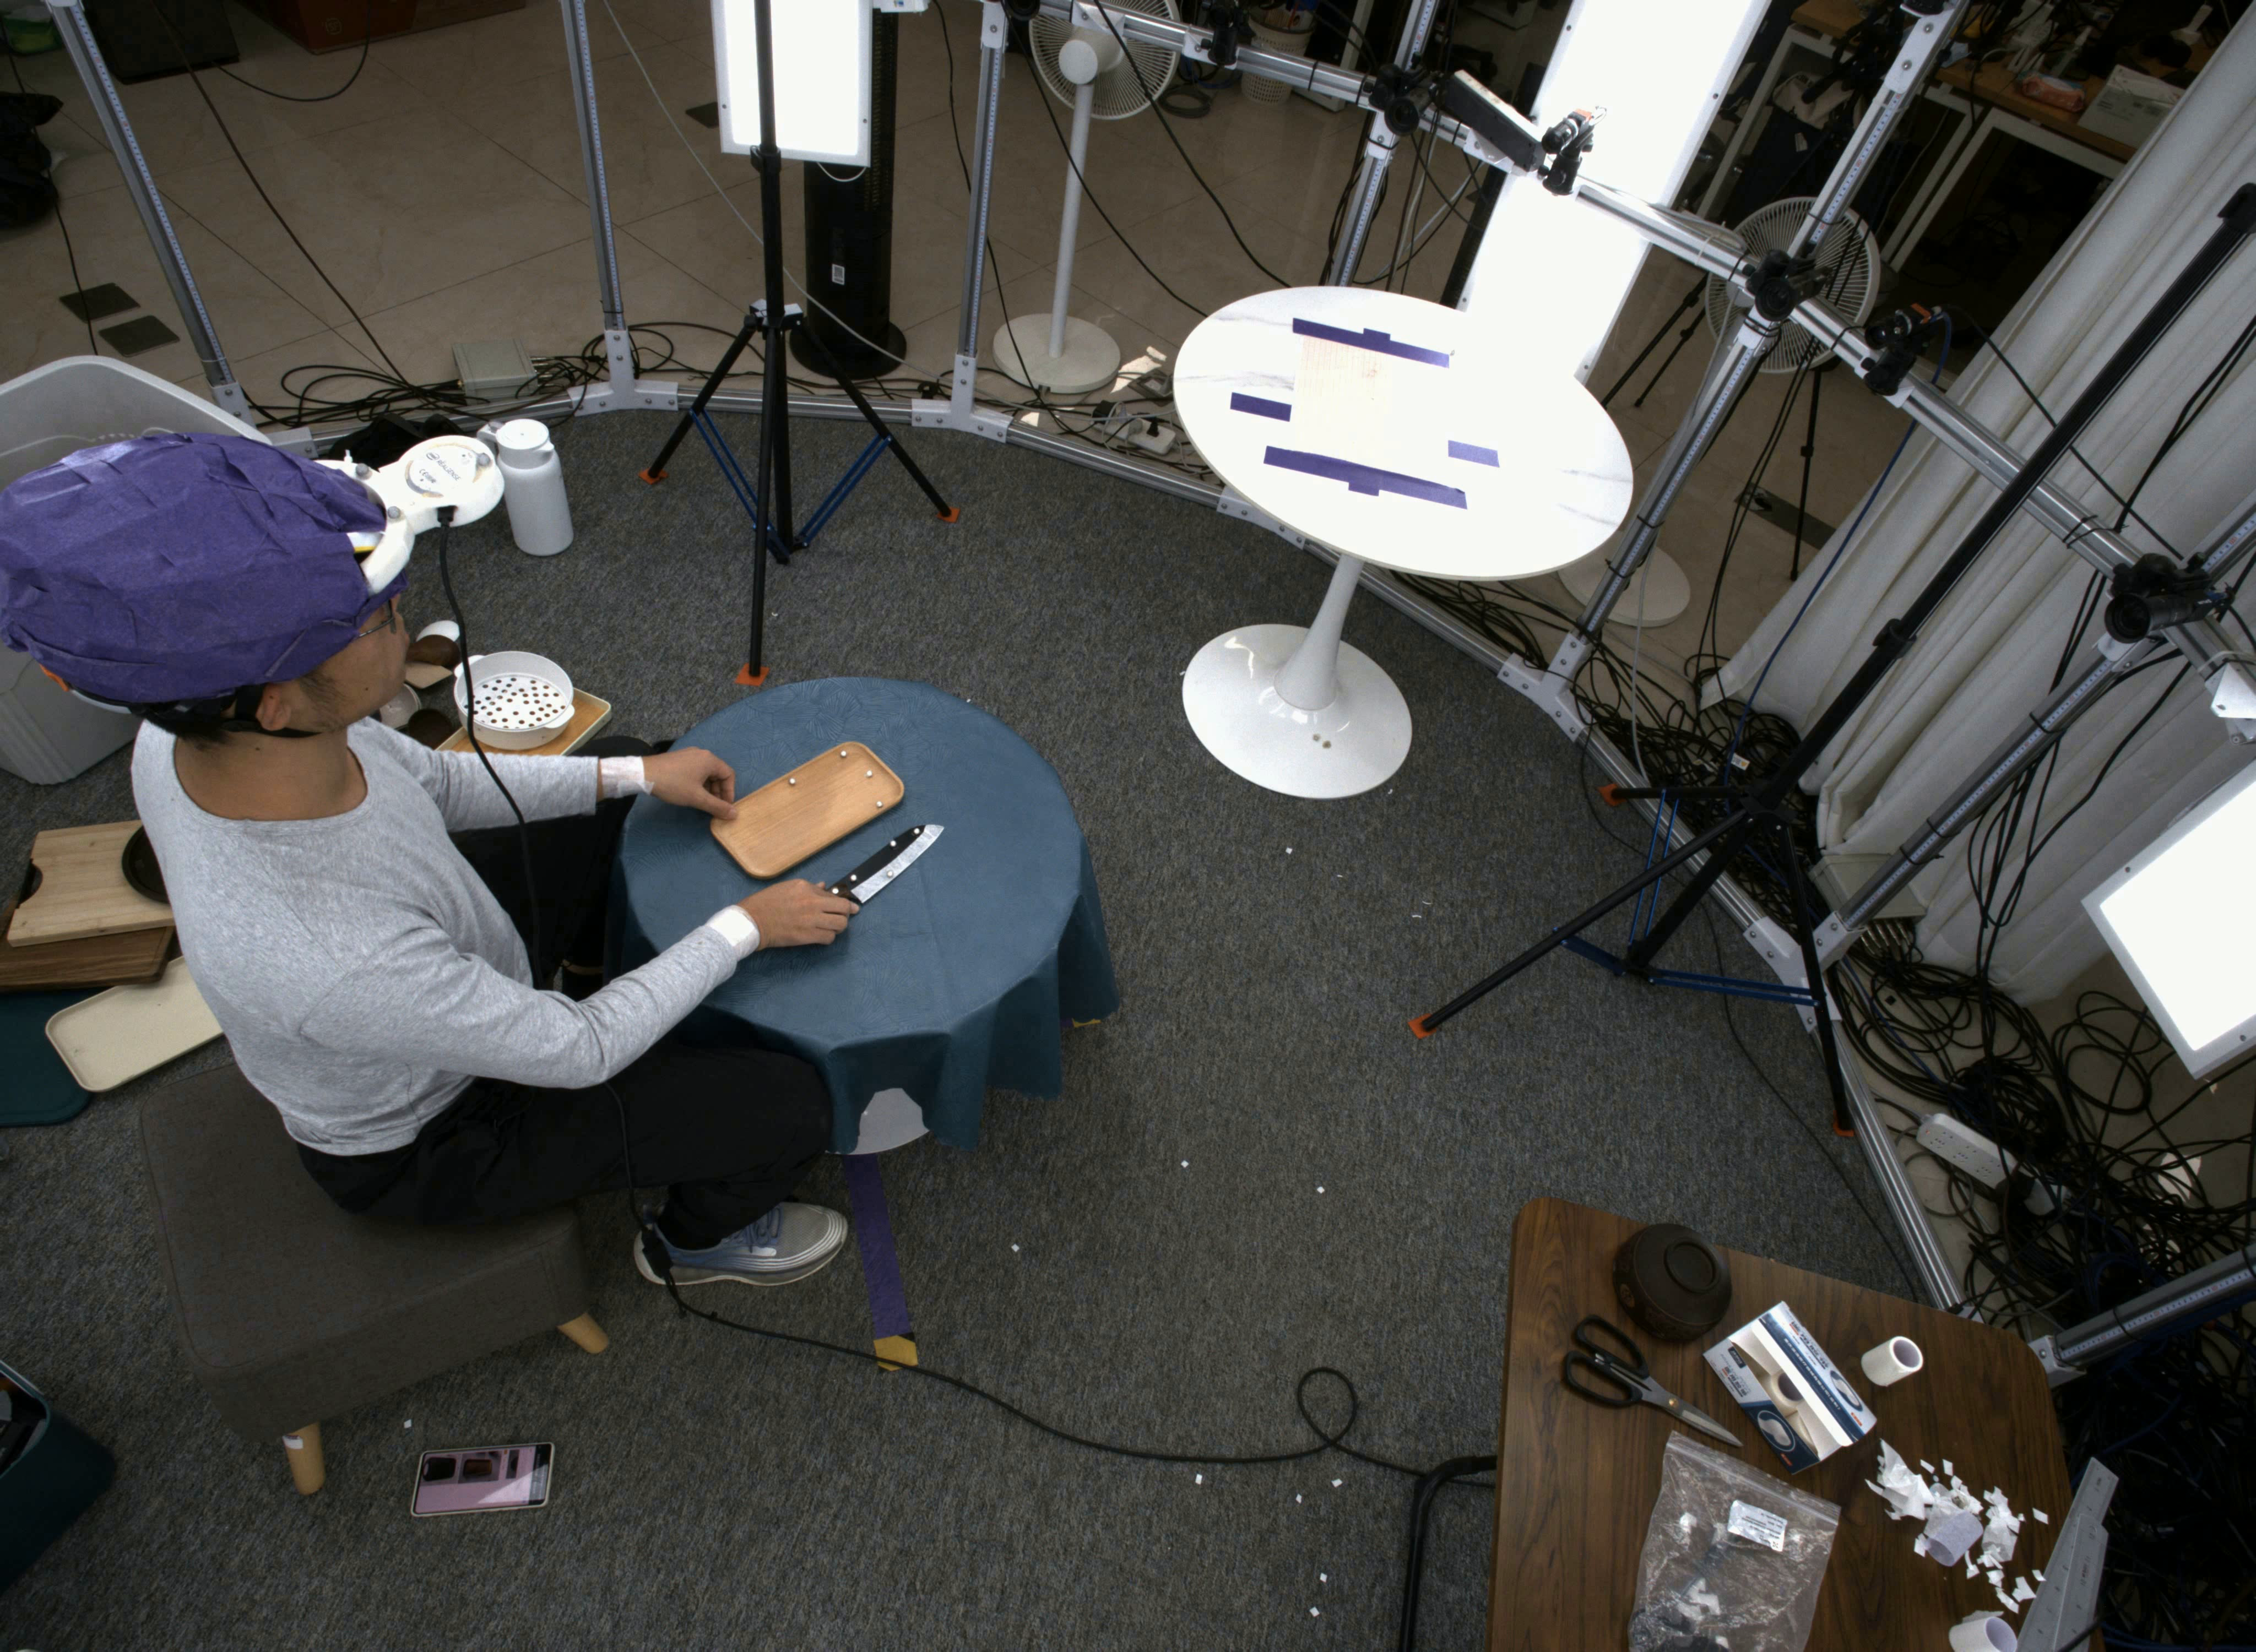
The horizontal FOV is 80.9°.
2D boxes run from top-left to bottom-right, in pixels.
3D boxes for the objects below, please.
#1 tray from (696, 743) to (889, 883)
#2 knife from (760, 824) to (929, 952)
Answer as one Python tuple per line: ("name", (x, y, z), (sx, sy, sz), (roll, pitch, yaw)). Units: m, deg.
("tray", (-0.446, -0.020, 1.734), (0.251, 0.023, 0.127), (-35, 66, -32))
("knife", (-0.363, 0.073, 1.687), (0.049, 0.020, 0.289), (42, 53, 10))
